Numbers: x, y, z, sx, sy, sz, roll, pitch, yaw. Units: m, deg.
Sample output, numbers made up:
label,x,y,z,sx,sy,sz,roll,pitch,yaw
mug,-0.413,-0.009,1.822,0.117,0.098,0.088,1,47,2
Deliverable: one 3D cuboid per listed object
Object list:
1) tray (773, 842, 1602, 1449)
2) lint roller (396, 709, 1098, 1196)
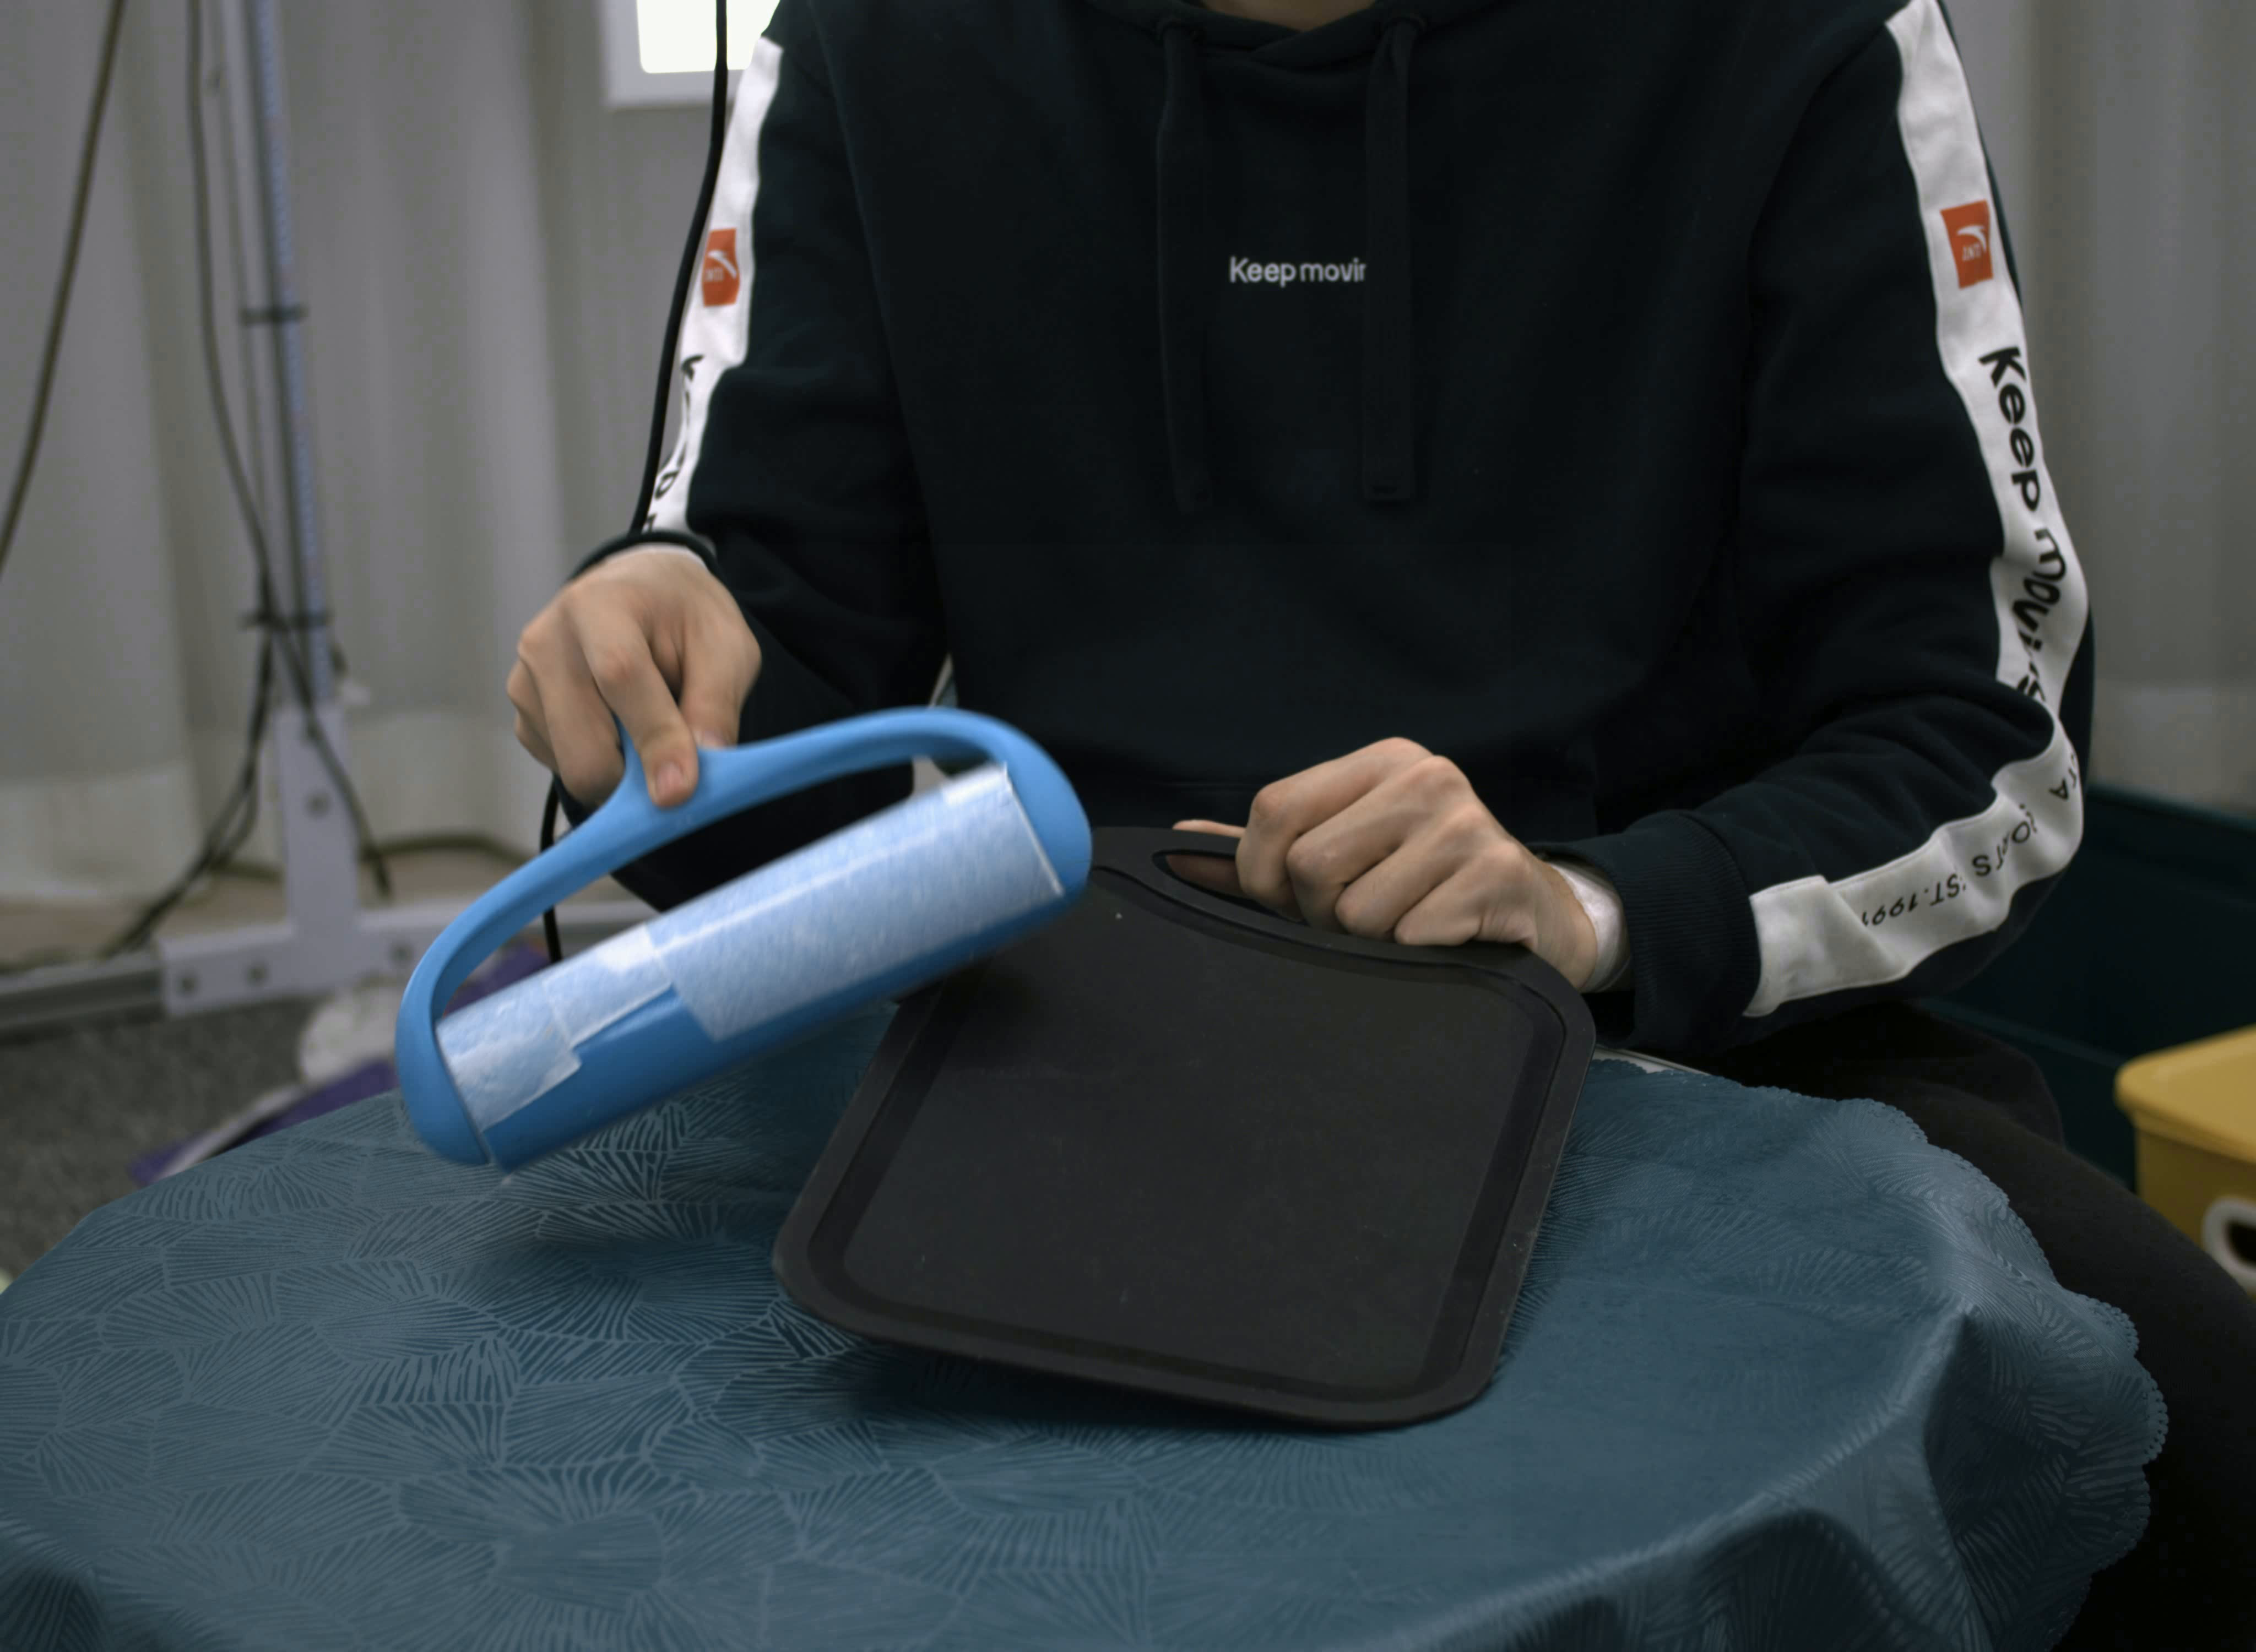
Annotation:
label,x,y,z,sx,sy,sz,roll,pitch,yaw
tray,0.026,0.084,1.654,0.211,0.010,0.328,11,29,9
lint roller,-0.137,0.011,1.722,0.228,0.067,0.183,-27,47,-4
